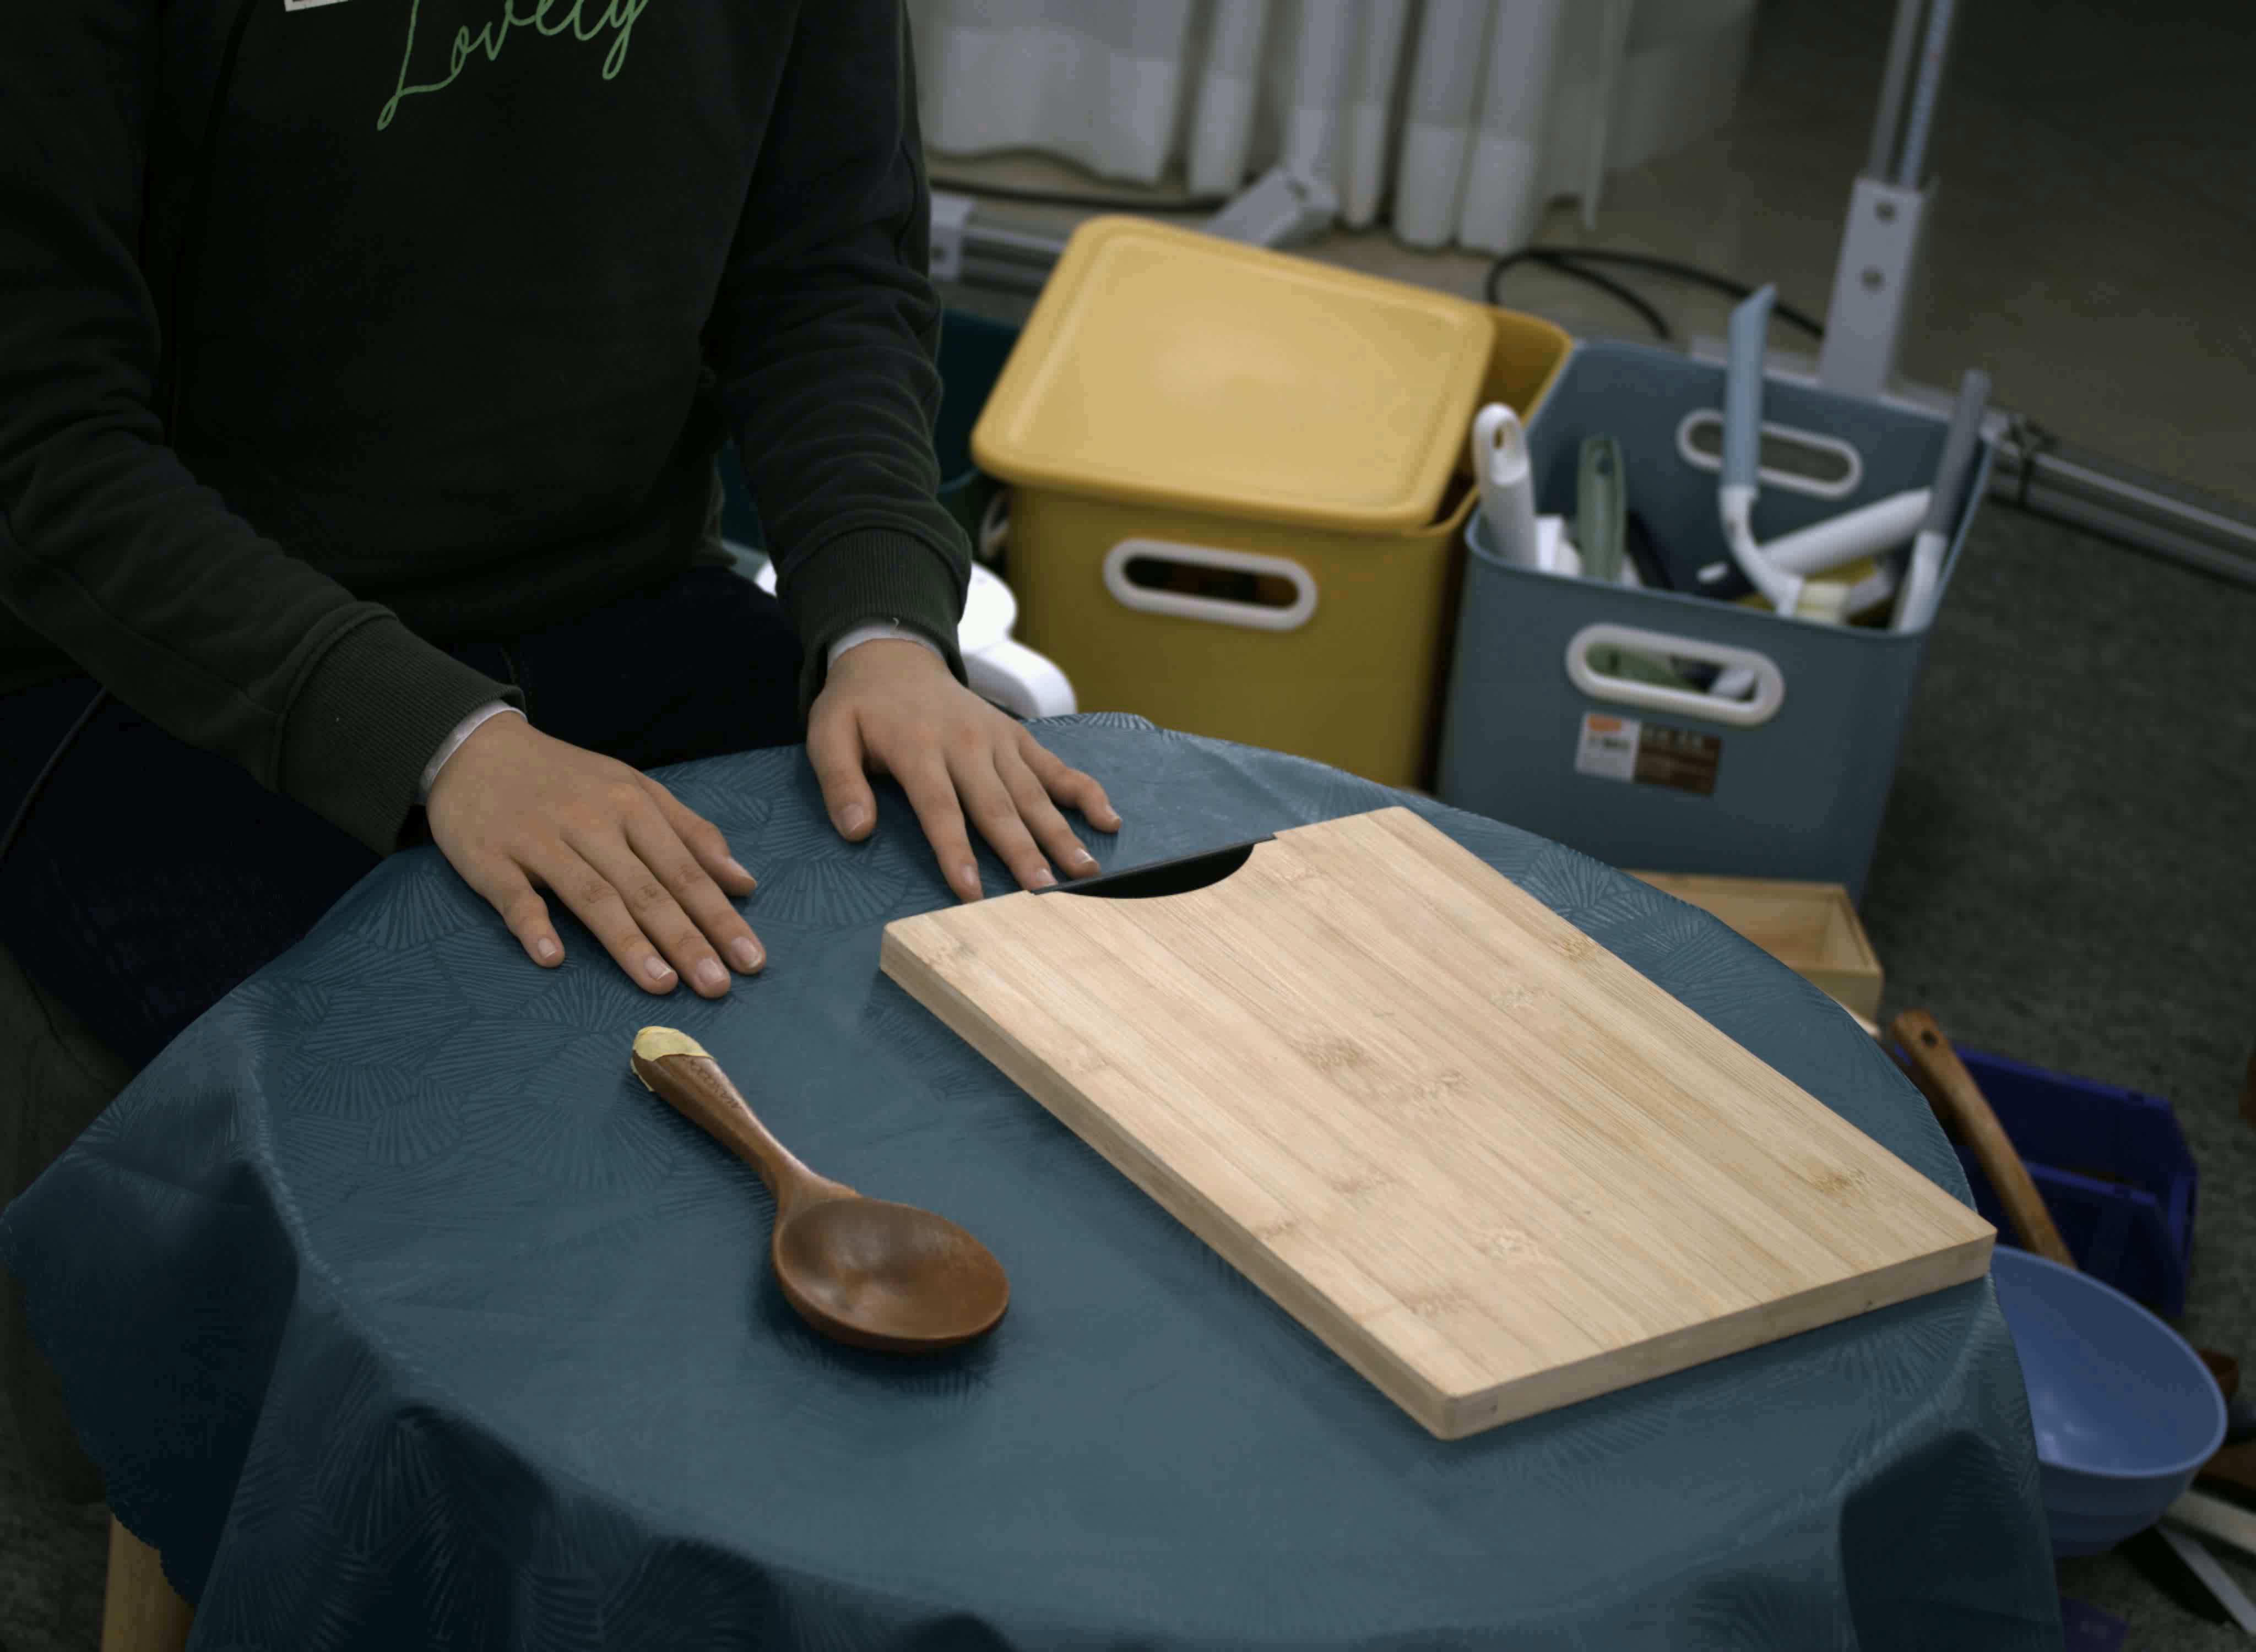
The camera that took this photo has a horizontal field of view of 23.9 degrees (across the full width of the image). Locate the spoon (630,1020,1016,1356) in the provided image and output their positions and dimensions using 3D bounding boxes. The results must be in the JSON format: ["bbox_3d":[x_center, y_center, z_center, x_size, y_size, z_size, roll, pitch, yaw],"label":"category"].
[{"bbox_3d":[-0.109,0.120,1.763,0.075,0.017,0.218,-12,32,-29],"label":"spoon"}]

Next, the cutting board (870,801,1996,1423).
[{"bbox_3d":[0.100,0.092,1.867,0.249,0.023,0.352,-12,32,-34],"label":"cutting board"}]
